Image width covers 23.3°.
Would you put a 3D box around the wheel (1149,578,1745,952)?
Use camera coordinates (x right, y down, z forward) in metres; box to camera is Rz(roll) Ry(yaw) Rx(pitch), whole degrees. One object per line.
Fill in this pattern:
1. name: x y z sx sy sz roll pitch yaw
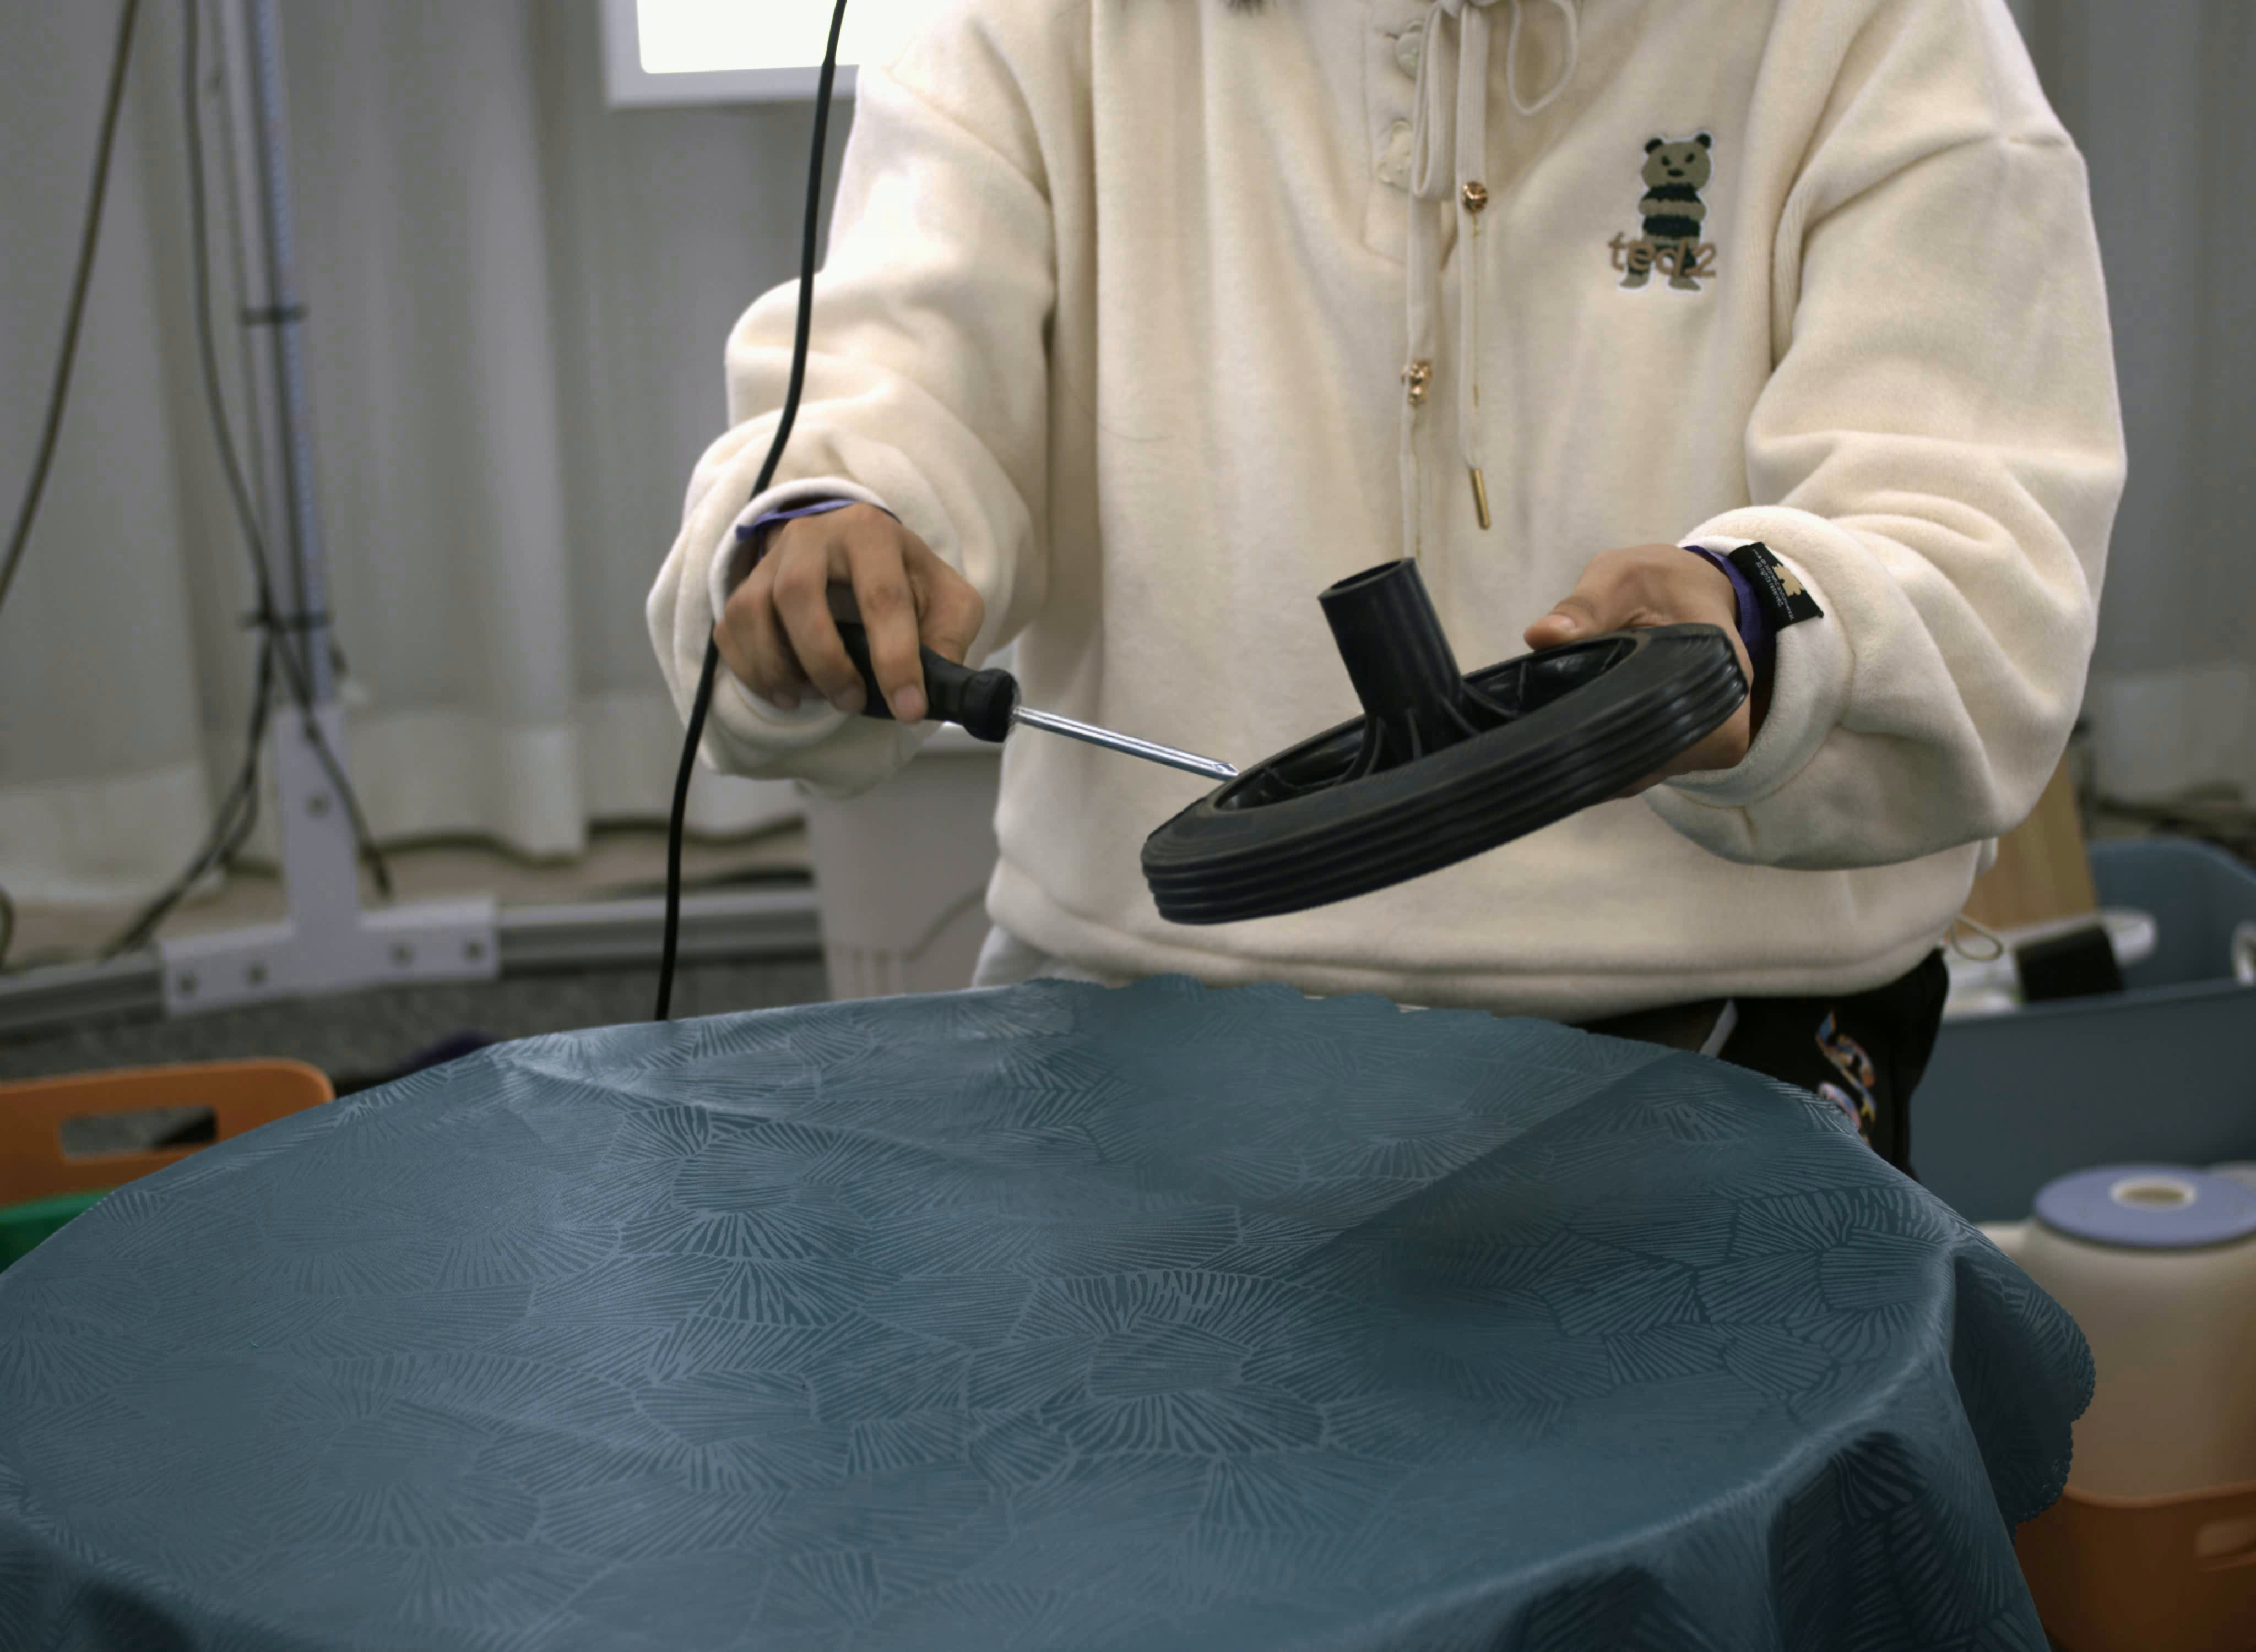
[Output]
1. wheel: 0.085 -0.031 1.618 0.190 0.079 0.187 -31 11 -37

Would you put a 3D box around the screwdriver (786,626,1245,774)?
1. screwdriver: -0.034 -0.037 1.753 0.197 0.031 0.031 13 21 38
